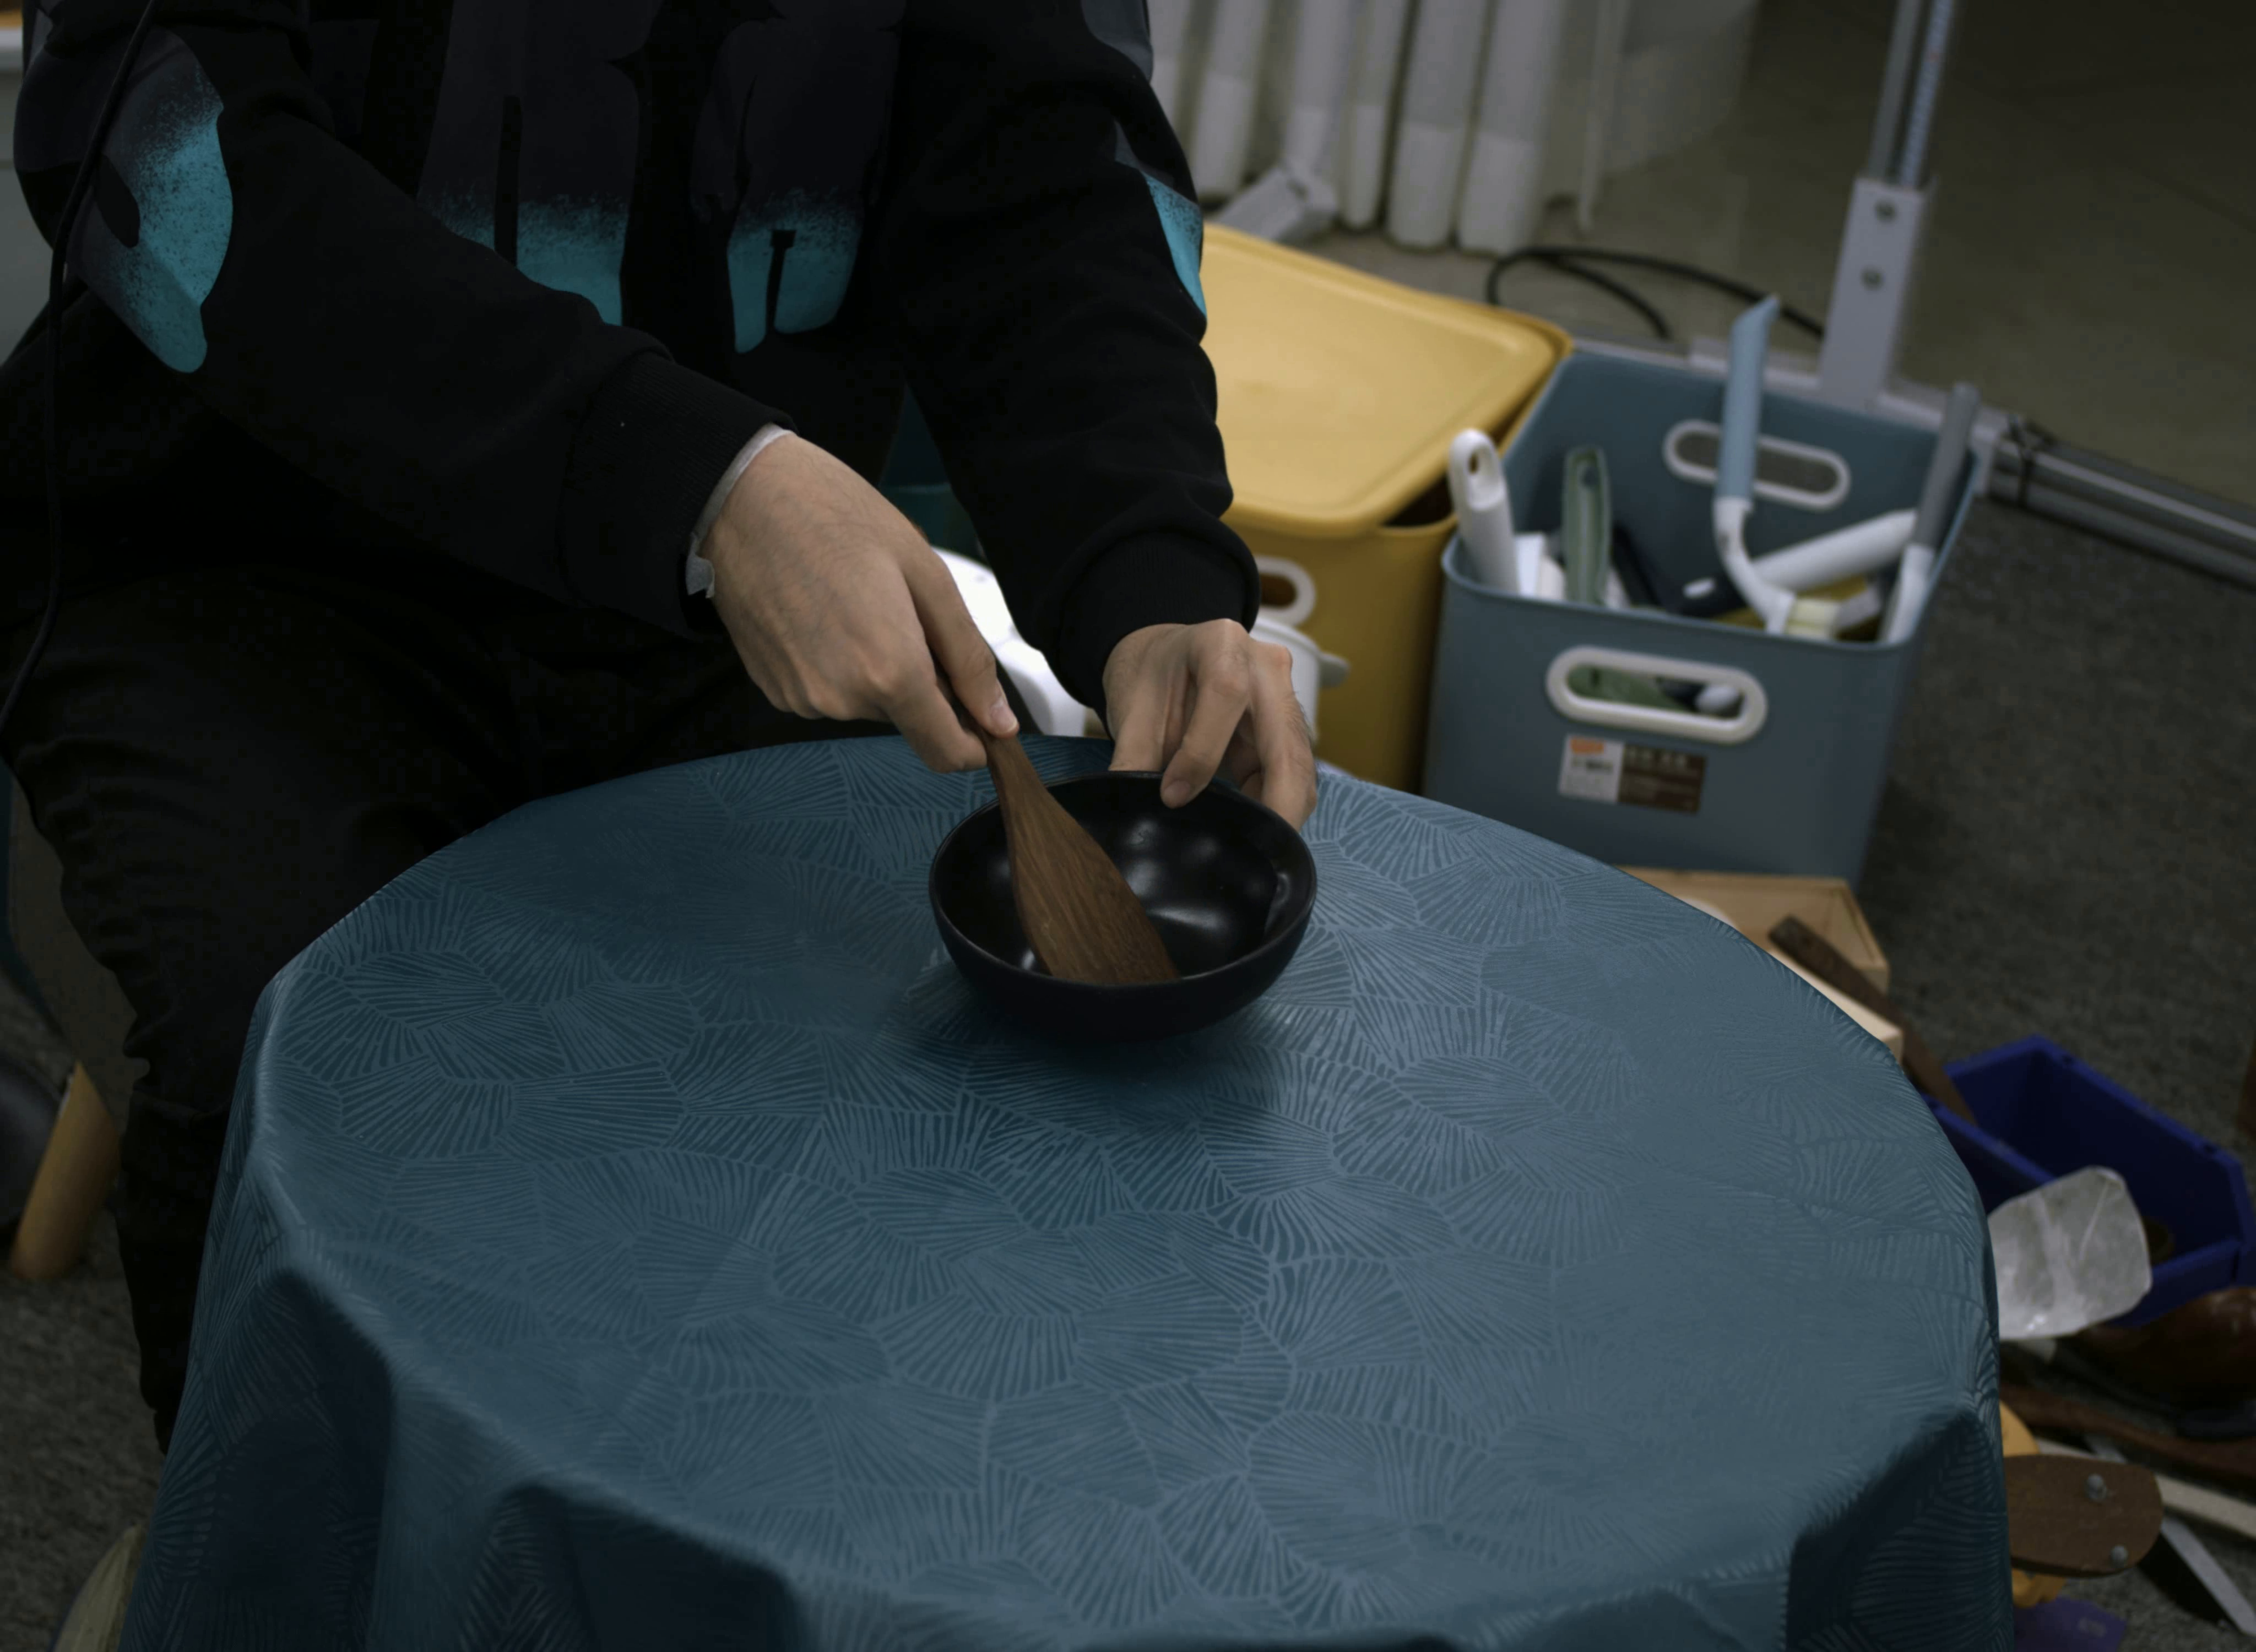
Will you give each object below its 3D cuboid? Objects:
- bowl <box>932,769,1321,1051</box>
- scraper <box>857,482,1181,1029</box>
[{"bbox_3d":[0.000,0.038,1.902,0.139,0.049,0.141,-2,35,1],"label":"bowl"},{"bbox_3d":[-0.044,-0.026,1.887,0.011,0.211,0.075,-27,0,32],"label":"scraper"}]
